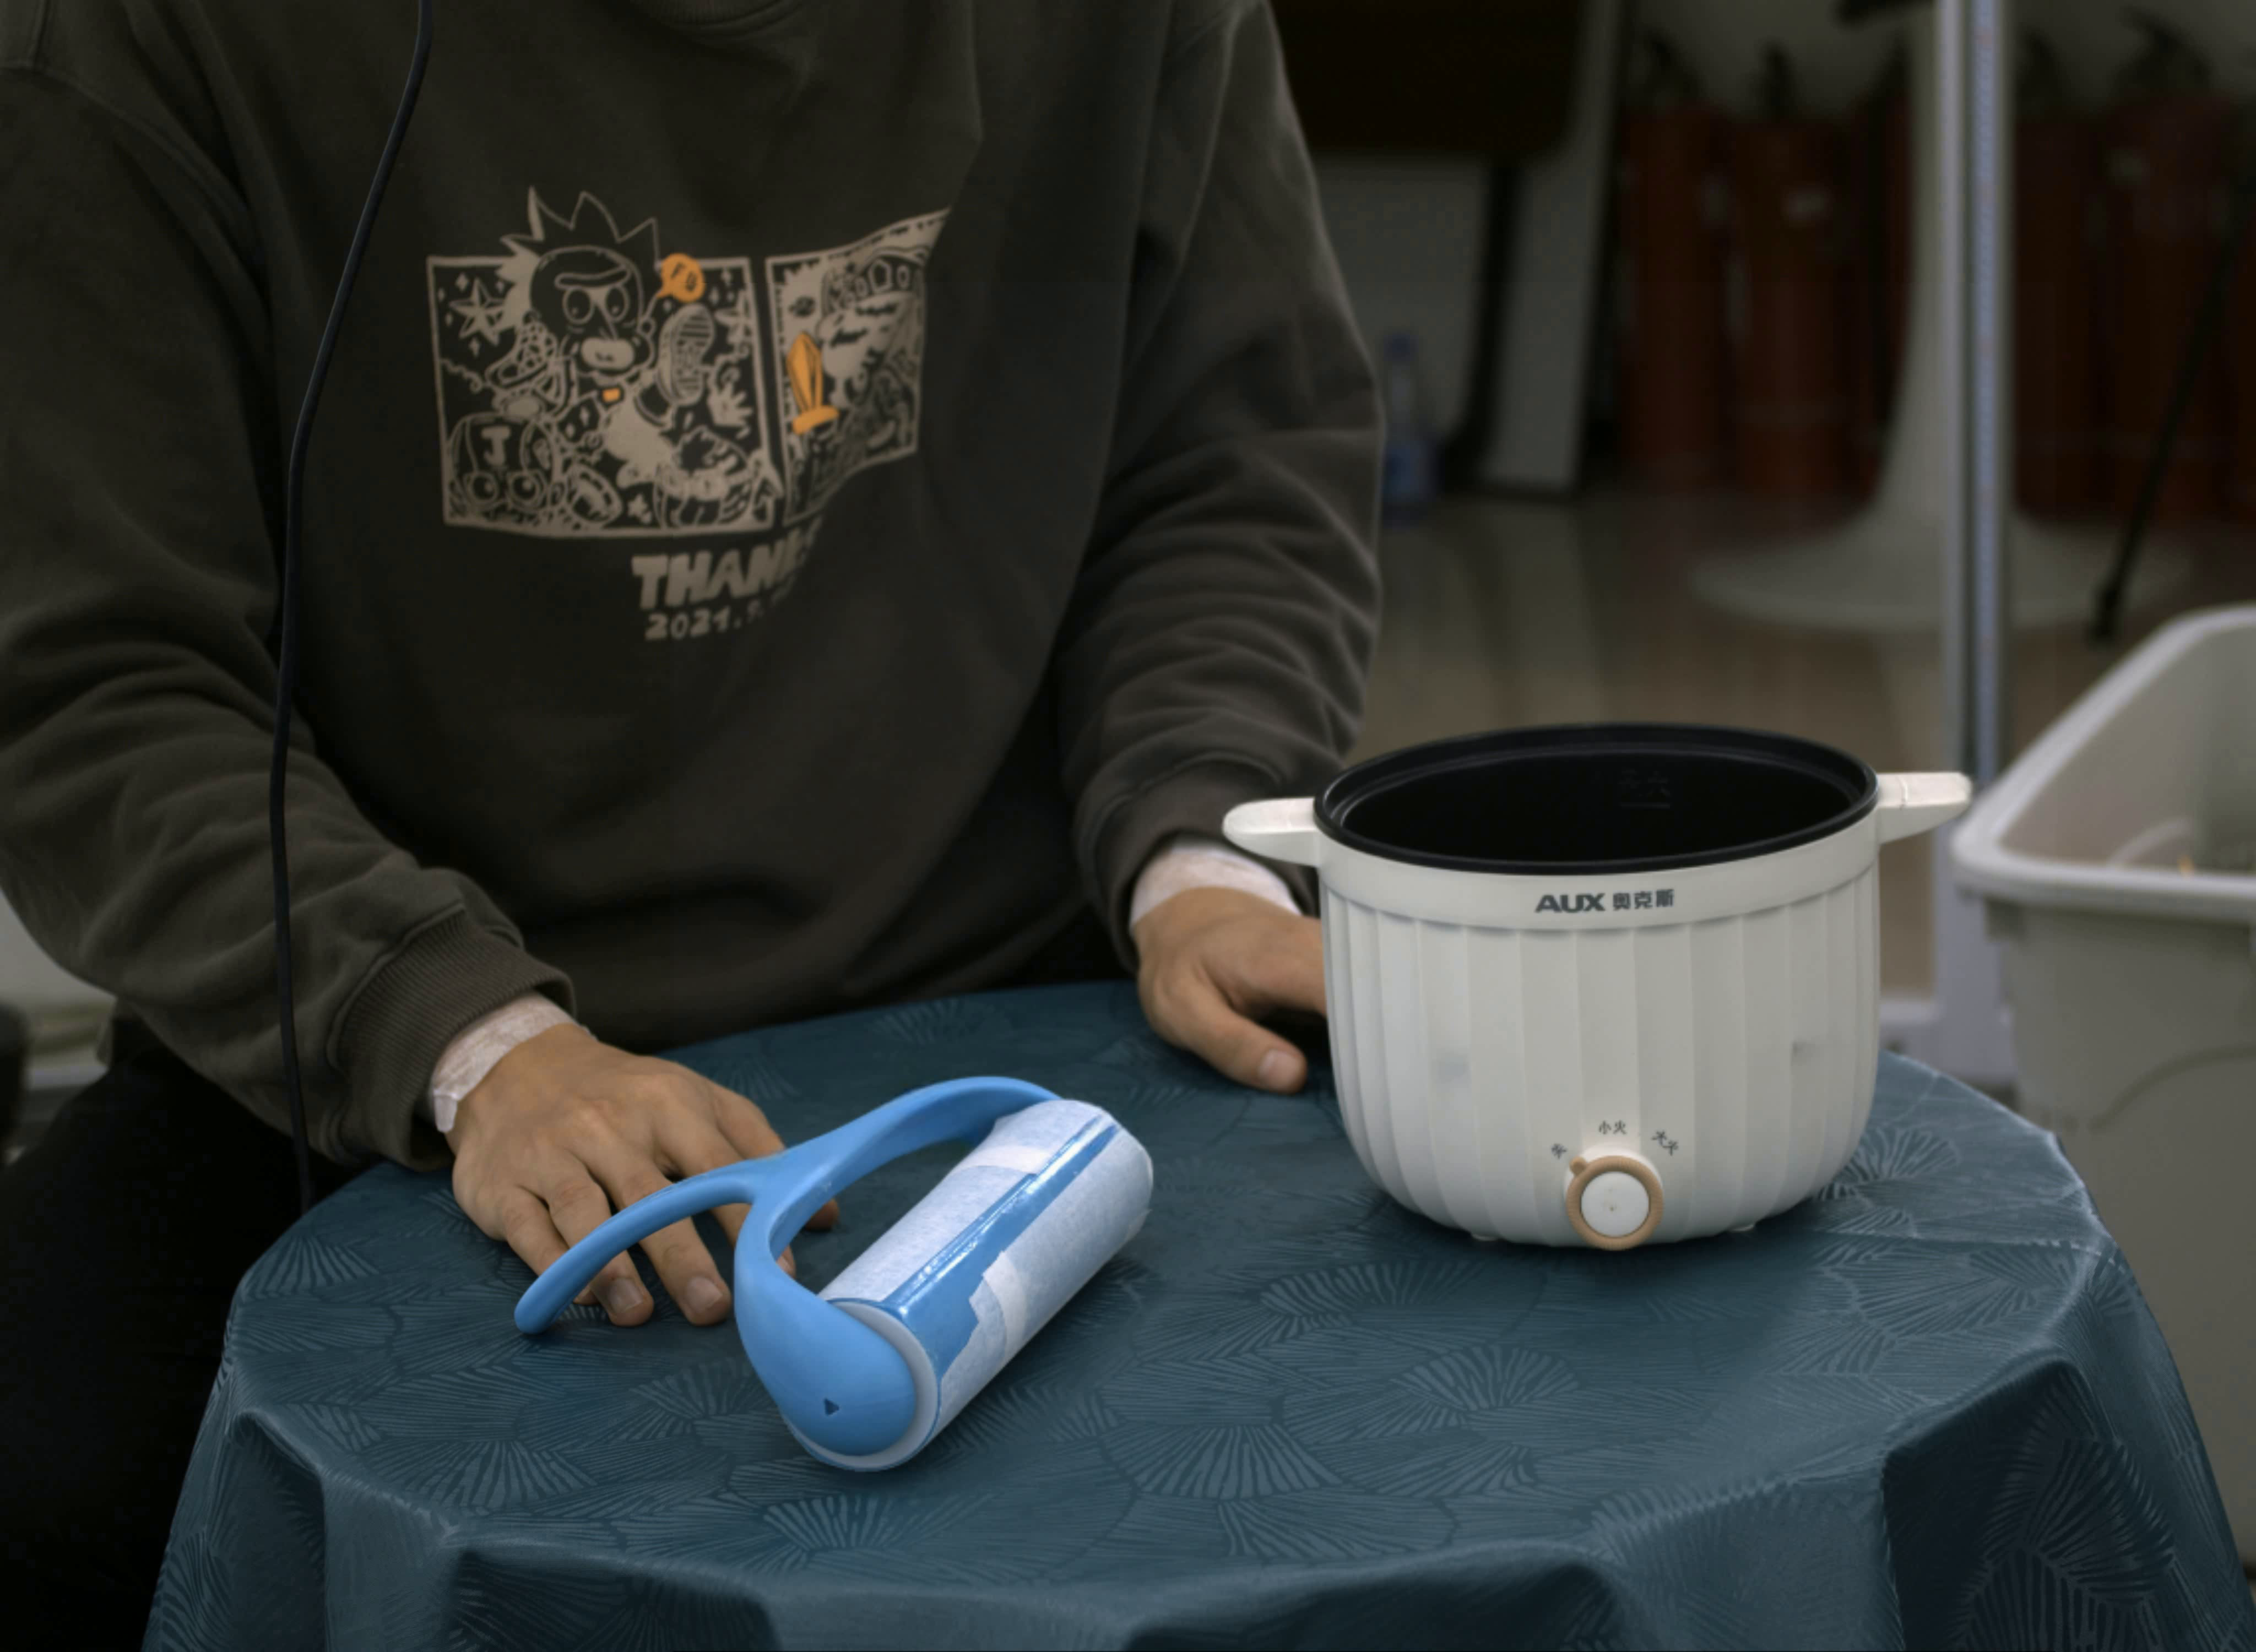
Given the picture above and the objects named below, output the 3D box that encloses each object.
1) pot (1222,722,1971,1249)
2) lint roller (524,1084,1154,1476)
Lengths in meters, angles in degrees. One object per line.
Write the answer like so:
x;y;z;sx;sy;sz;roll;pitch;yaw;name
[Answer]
0.153;0.053;1.715;0.238;0.144;0.190;-4;10;5;pot
-0.103;0.133;1.635;0.180;0.068;0.227;2;16;17;lint roller
